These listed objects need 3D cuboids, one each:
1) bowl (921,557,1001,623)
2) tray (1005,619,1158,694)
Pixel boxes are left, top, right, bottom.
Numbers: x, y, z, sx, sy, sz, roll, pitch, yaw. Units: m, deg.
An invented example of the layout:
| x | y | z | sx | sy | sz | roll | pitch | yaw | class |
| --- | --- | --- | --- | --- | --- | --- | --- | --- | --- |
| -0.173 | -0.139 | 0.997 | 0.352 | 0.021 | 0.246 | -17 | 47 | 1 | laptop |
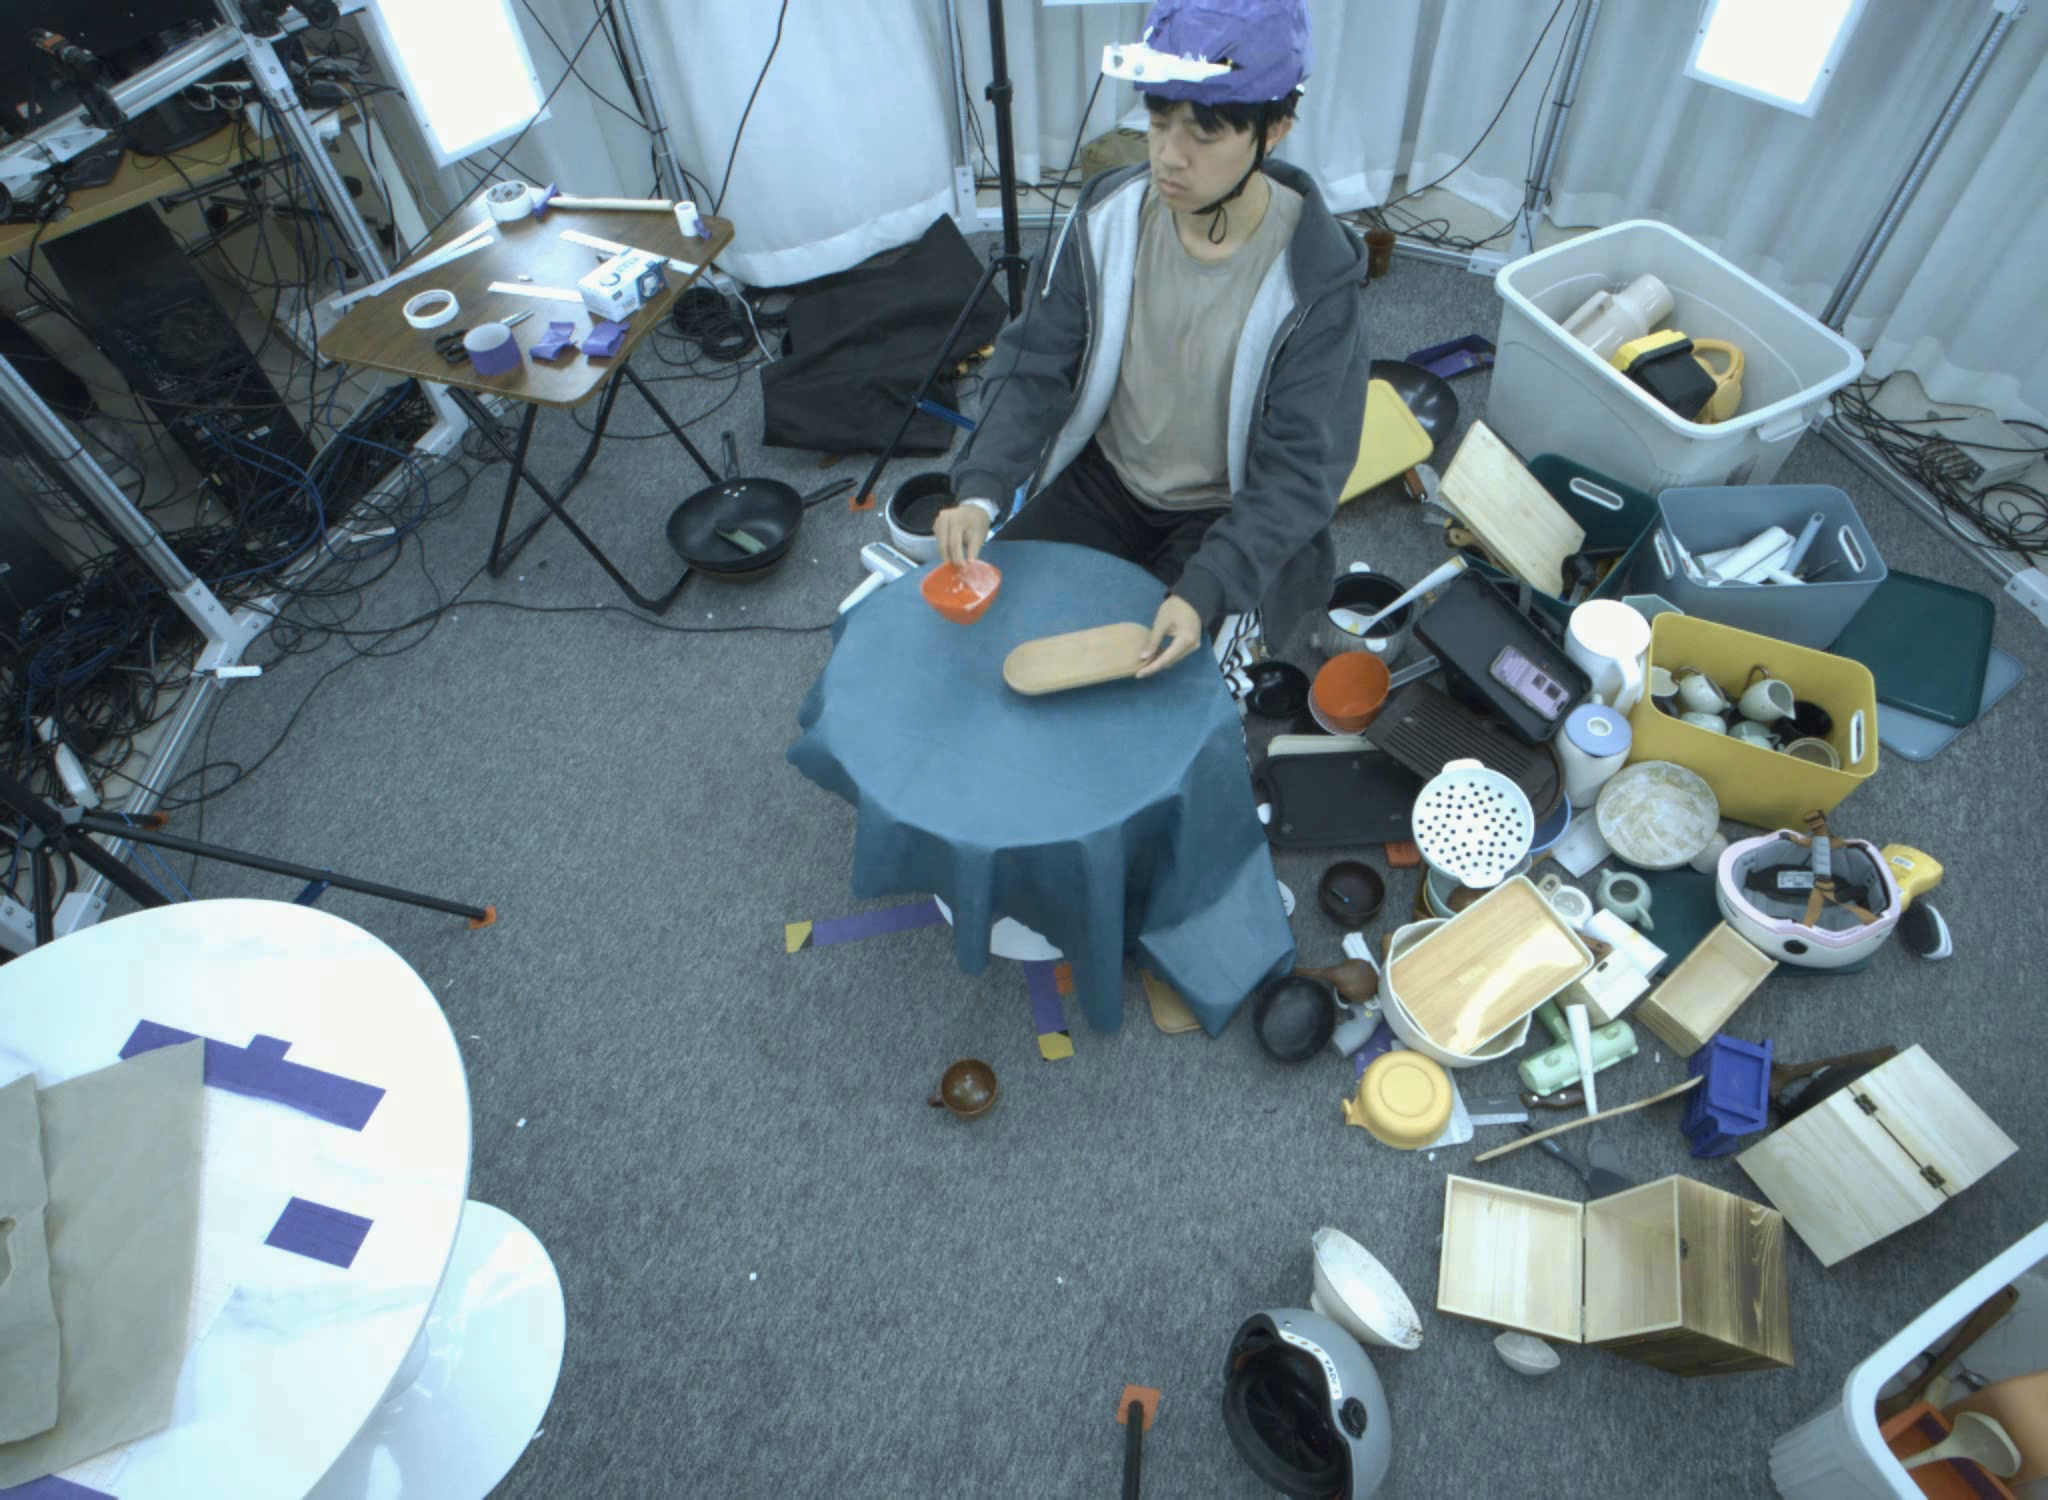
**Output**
| x | y | z | sx | sy | sz | roll | pitch | yaw | class |
| --- | --- | --- | --- | --- | --- | --- | --- | --- | --- |
| -0.089 | -0.228 | 1.791 | 0.118 | 0.052 | 0.117 | -3 | 45 | 5 | bowl |
| 0.085 | -0.139 | 1.830 | 0.231 | 0.020 | 0.100 | -11 | 53 | 2 | tray |
